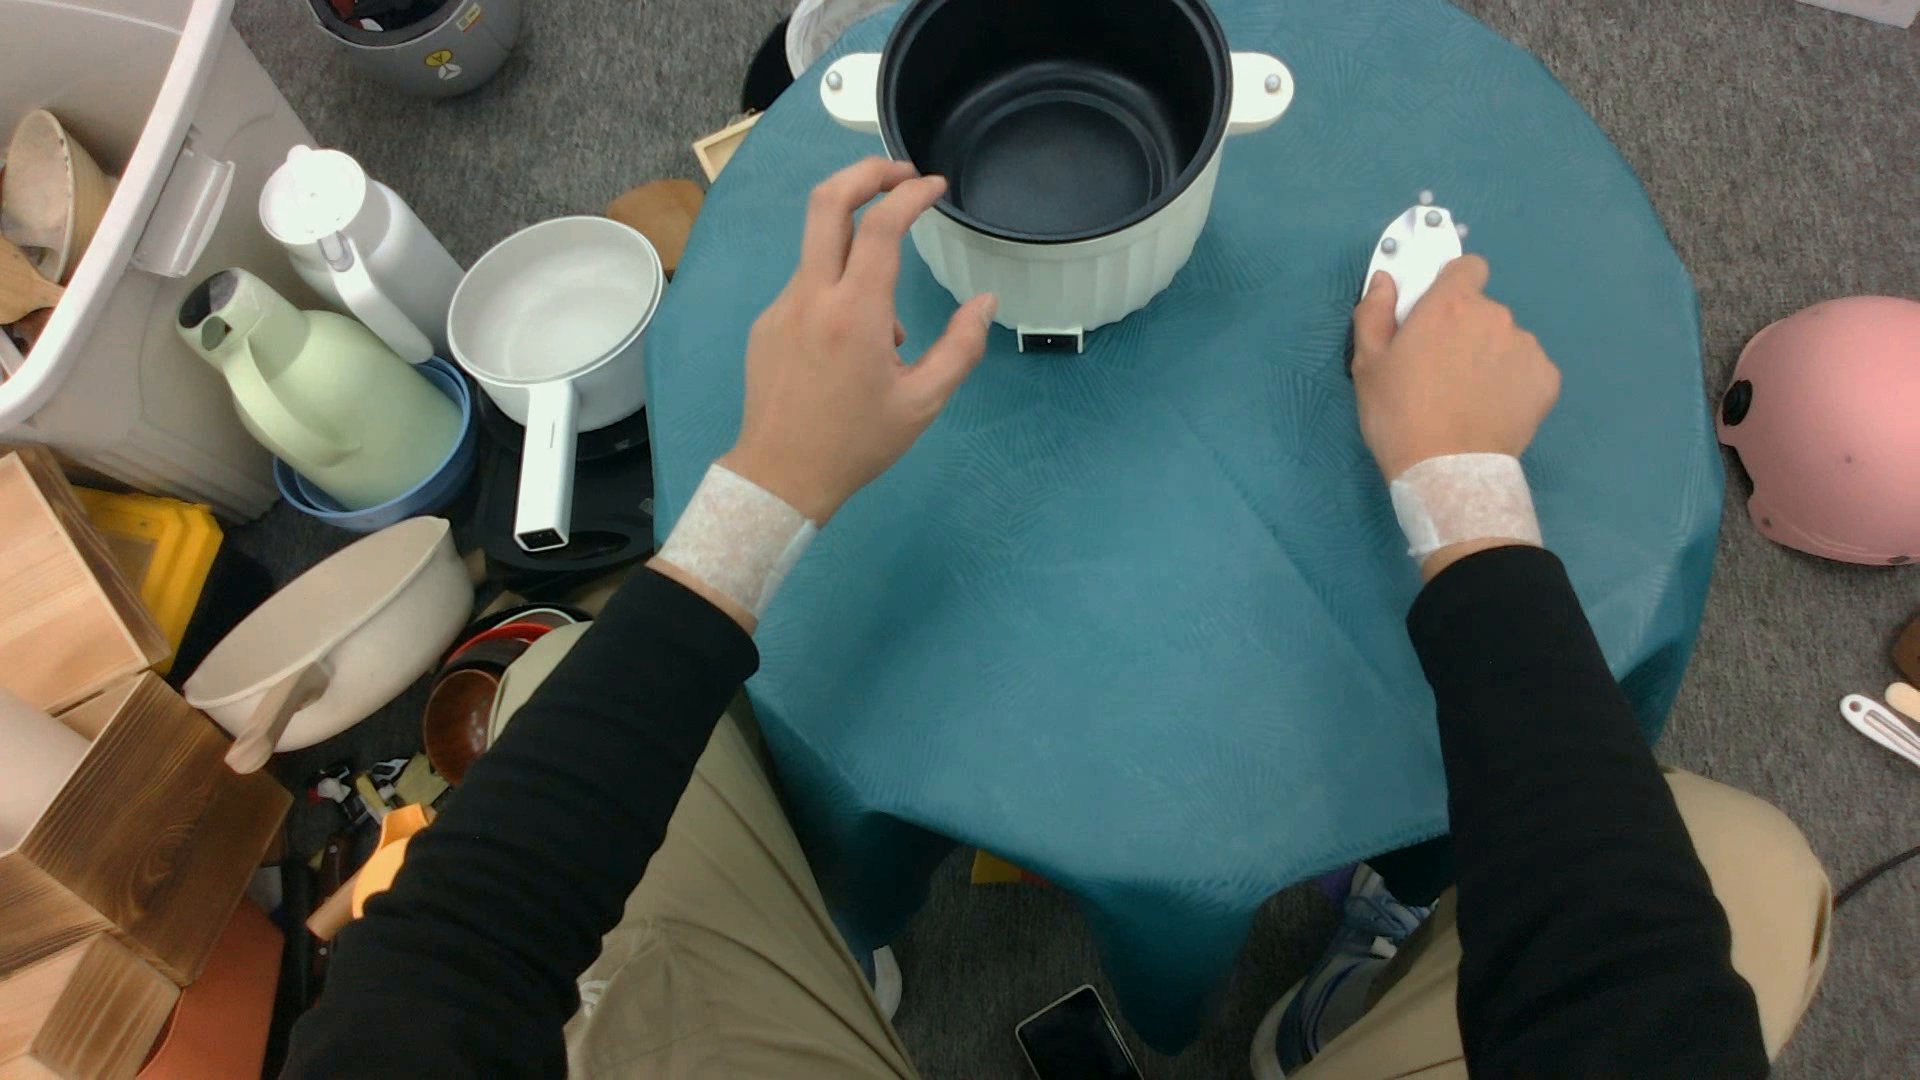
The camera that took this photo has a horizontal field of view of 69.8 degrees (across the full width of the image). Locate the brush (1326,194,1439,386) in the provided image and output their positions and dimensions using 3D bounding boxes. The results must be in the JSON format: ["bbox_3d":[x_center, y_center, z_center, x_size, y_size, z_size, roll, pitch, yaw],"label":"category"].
[{"bbox_3d":[0.238,-0.144,0.760,0.050,0.072,0.099,15,74,9],"label":"brush"}]

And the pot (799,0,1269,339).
[{"bbox_3d":[0.040,-0.223,0.765,0.240,0.142,0.191,1,75,3],"label":"pot"}]
